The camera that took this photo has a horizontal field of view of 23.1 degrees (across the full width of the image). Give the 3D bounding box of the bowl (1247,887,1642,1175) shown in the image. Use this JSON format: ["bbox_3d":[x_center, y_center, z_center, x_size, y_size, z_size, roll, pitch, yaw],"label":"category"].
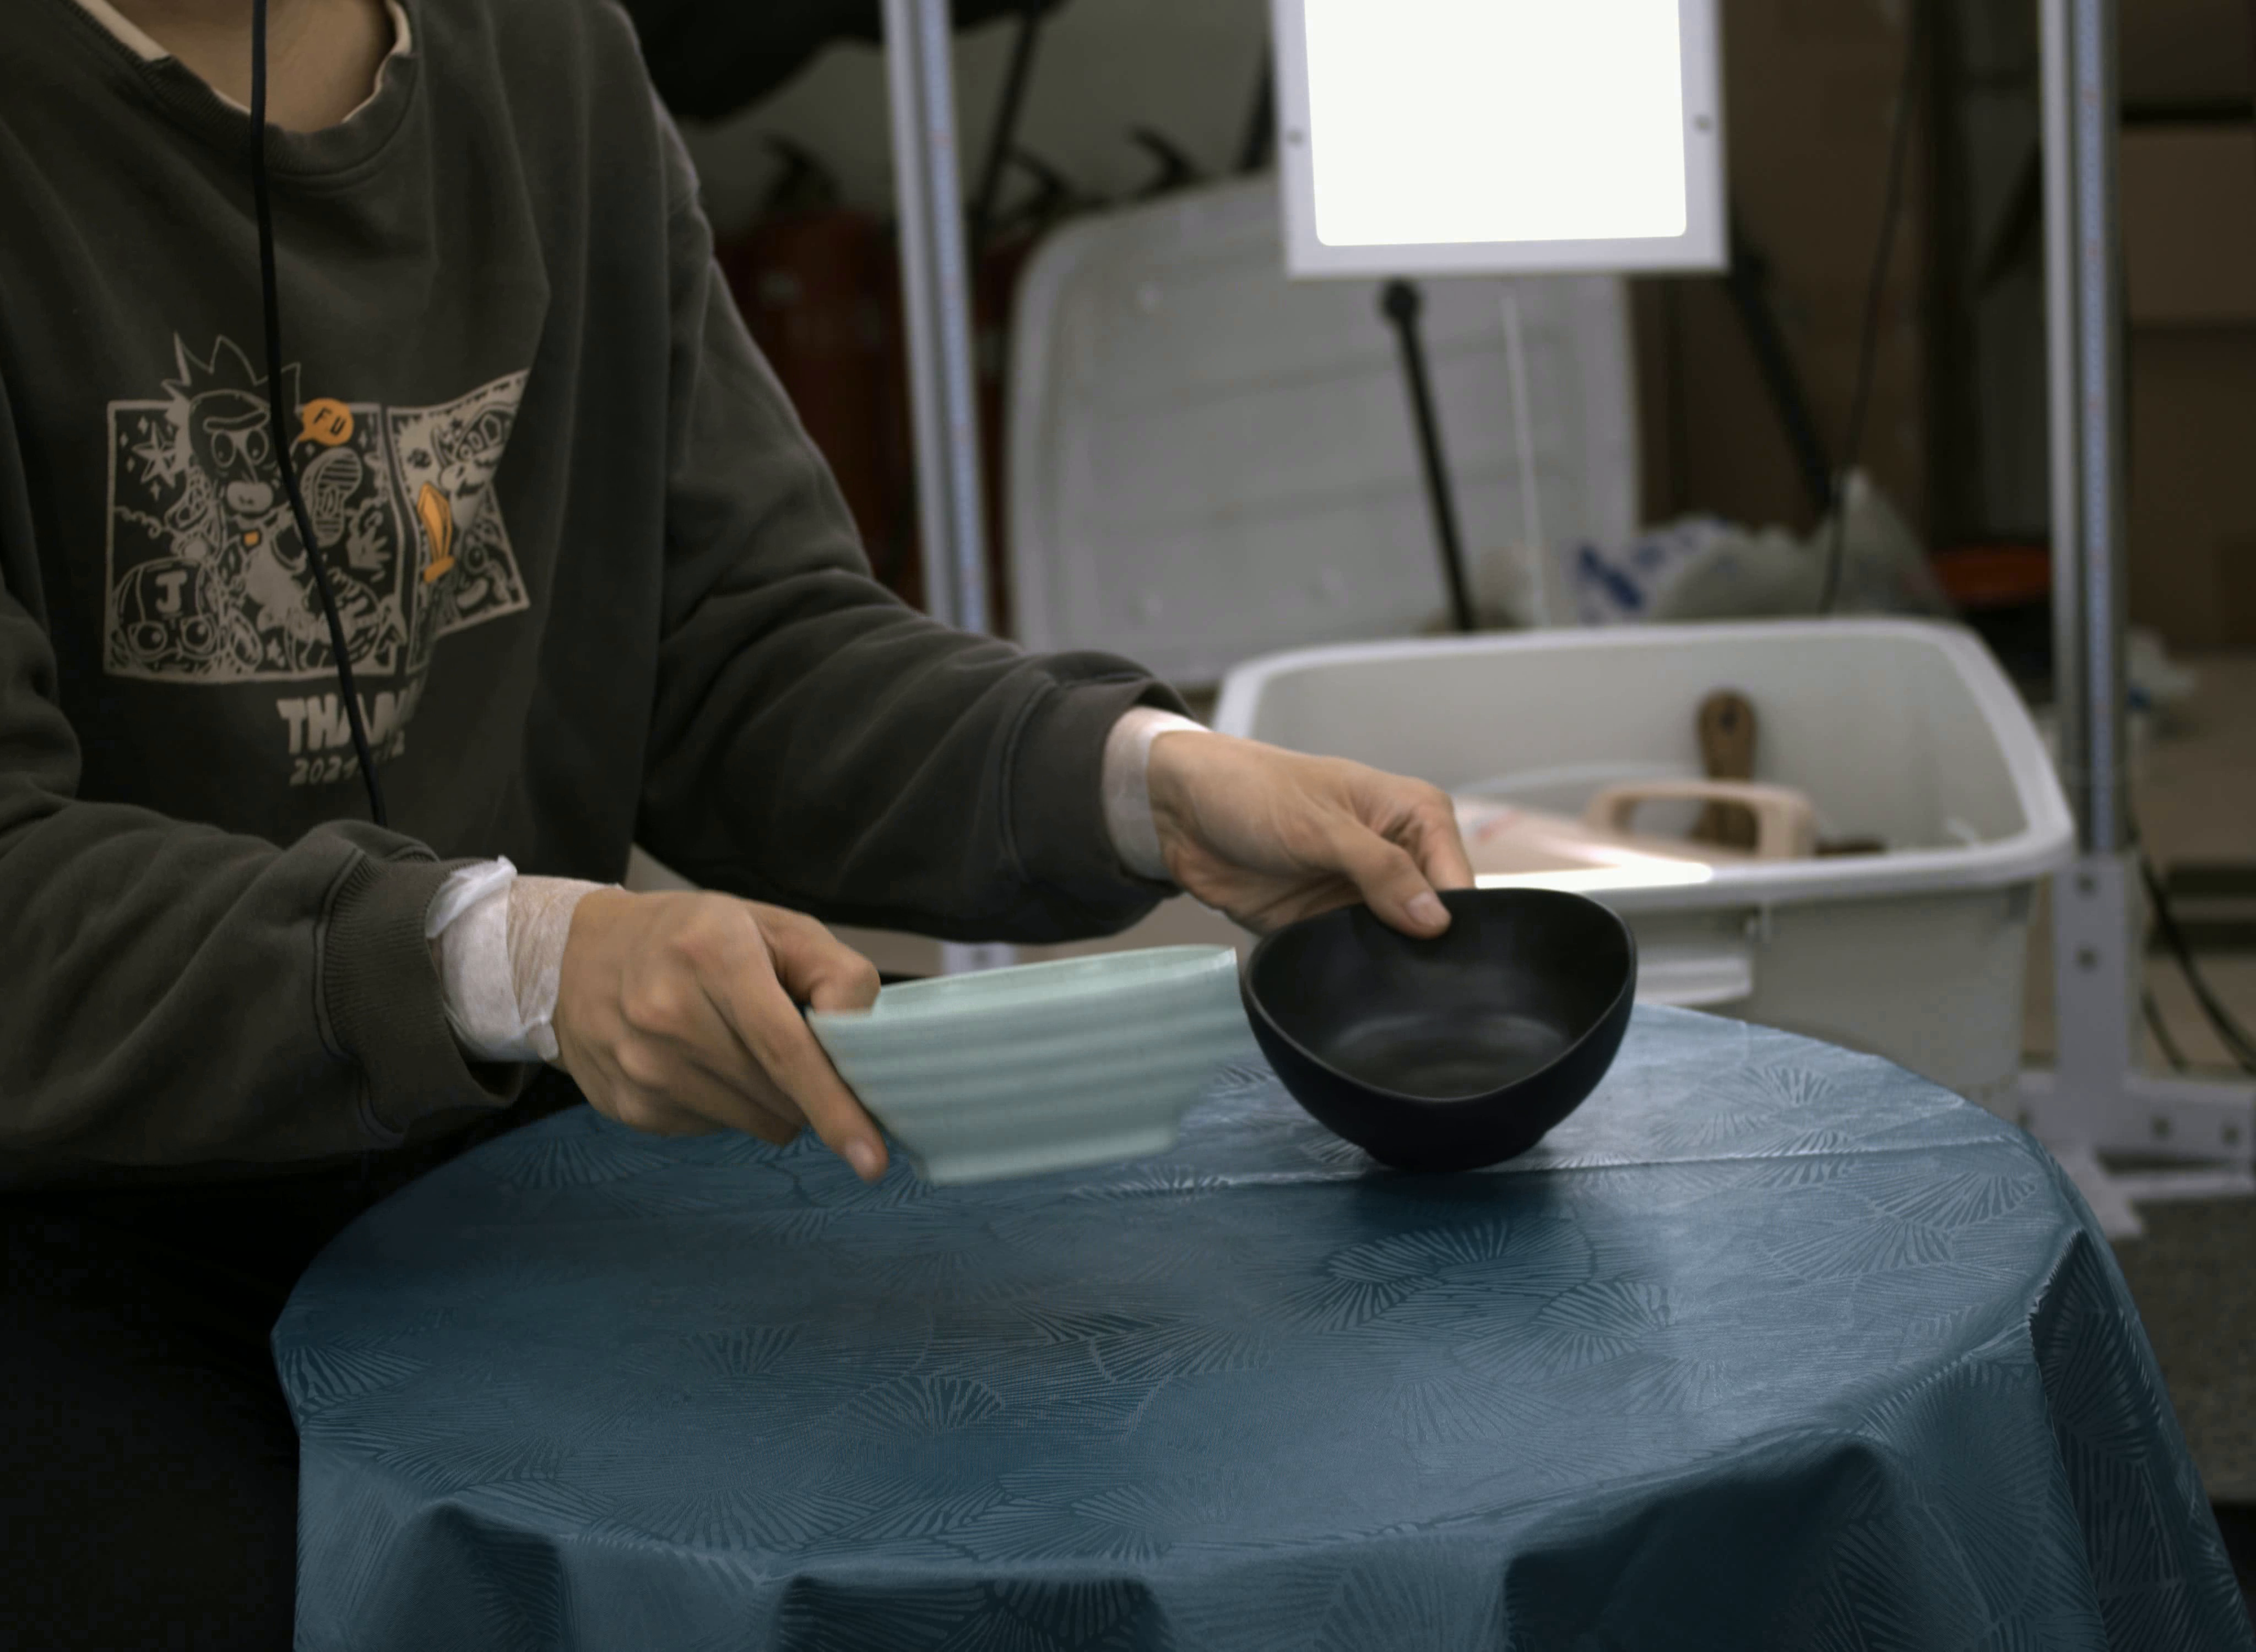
[{"bbox_3d":[0.113,0.077,1.908,0.137,0.067,0.170,-8,22,0],"label":"bowl"}]

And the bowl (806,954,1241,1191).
[{"bbox_3d":[-0.030,0.079,1.745,0.151,0.059,0.151,-6,4,-1],"label":"bowl"}]
